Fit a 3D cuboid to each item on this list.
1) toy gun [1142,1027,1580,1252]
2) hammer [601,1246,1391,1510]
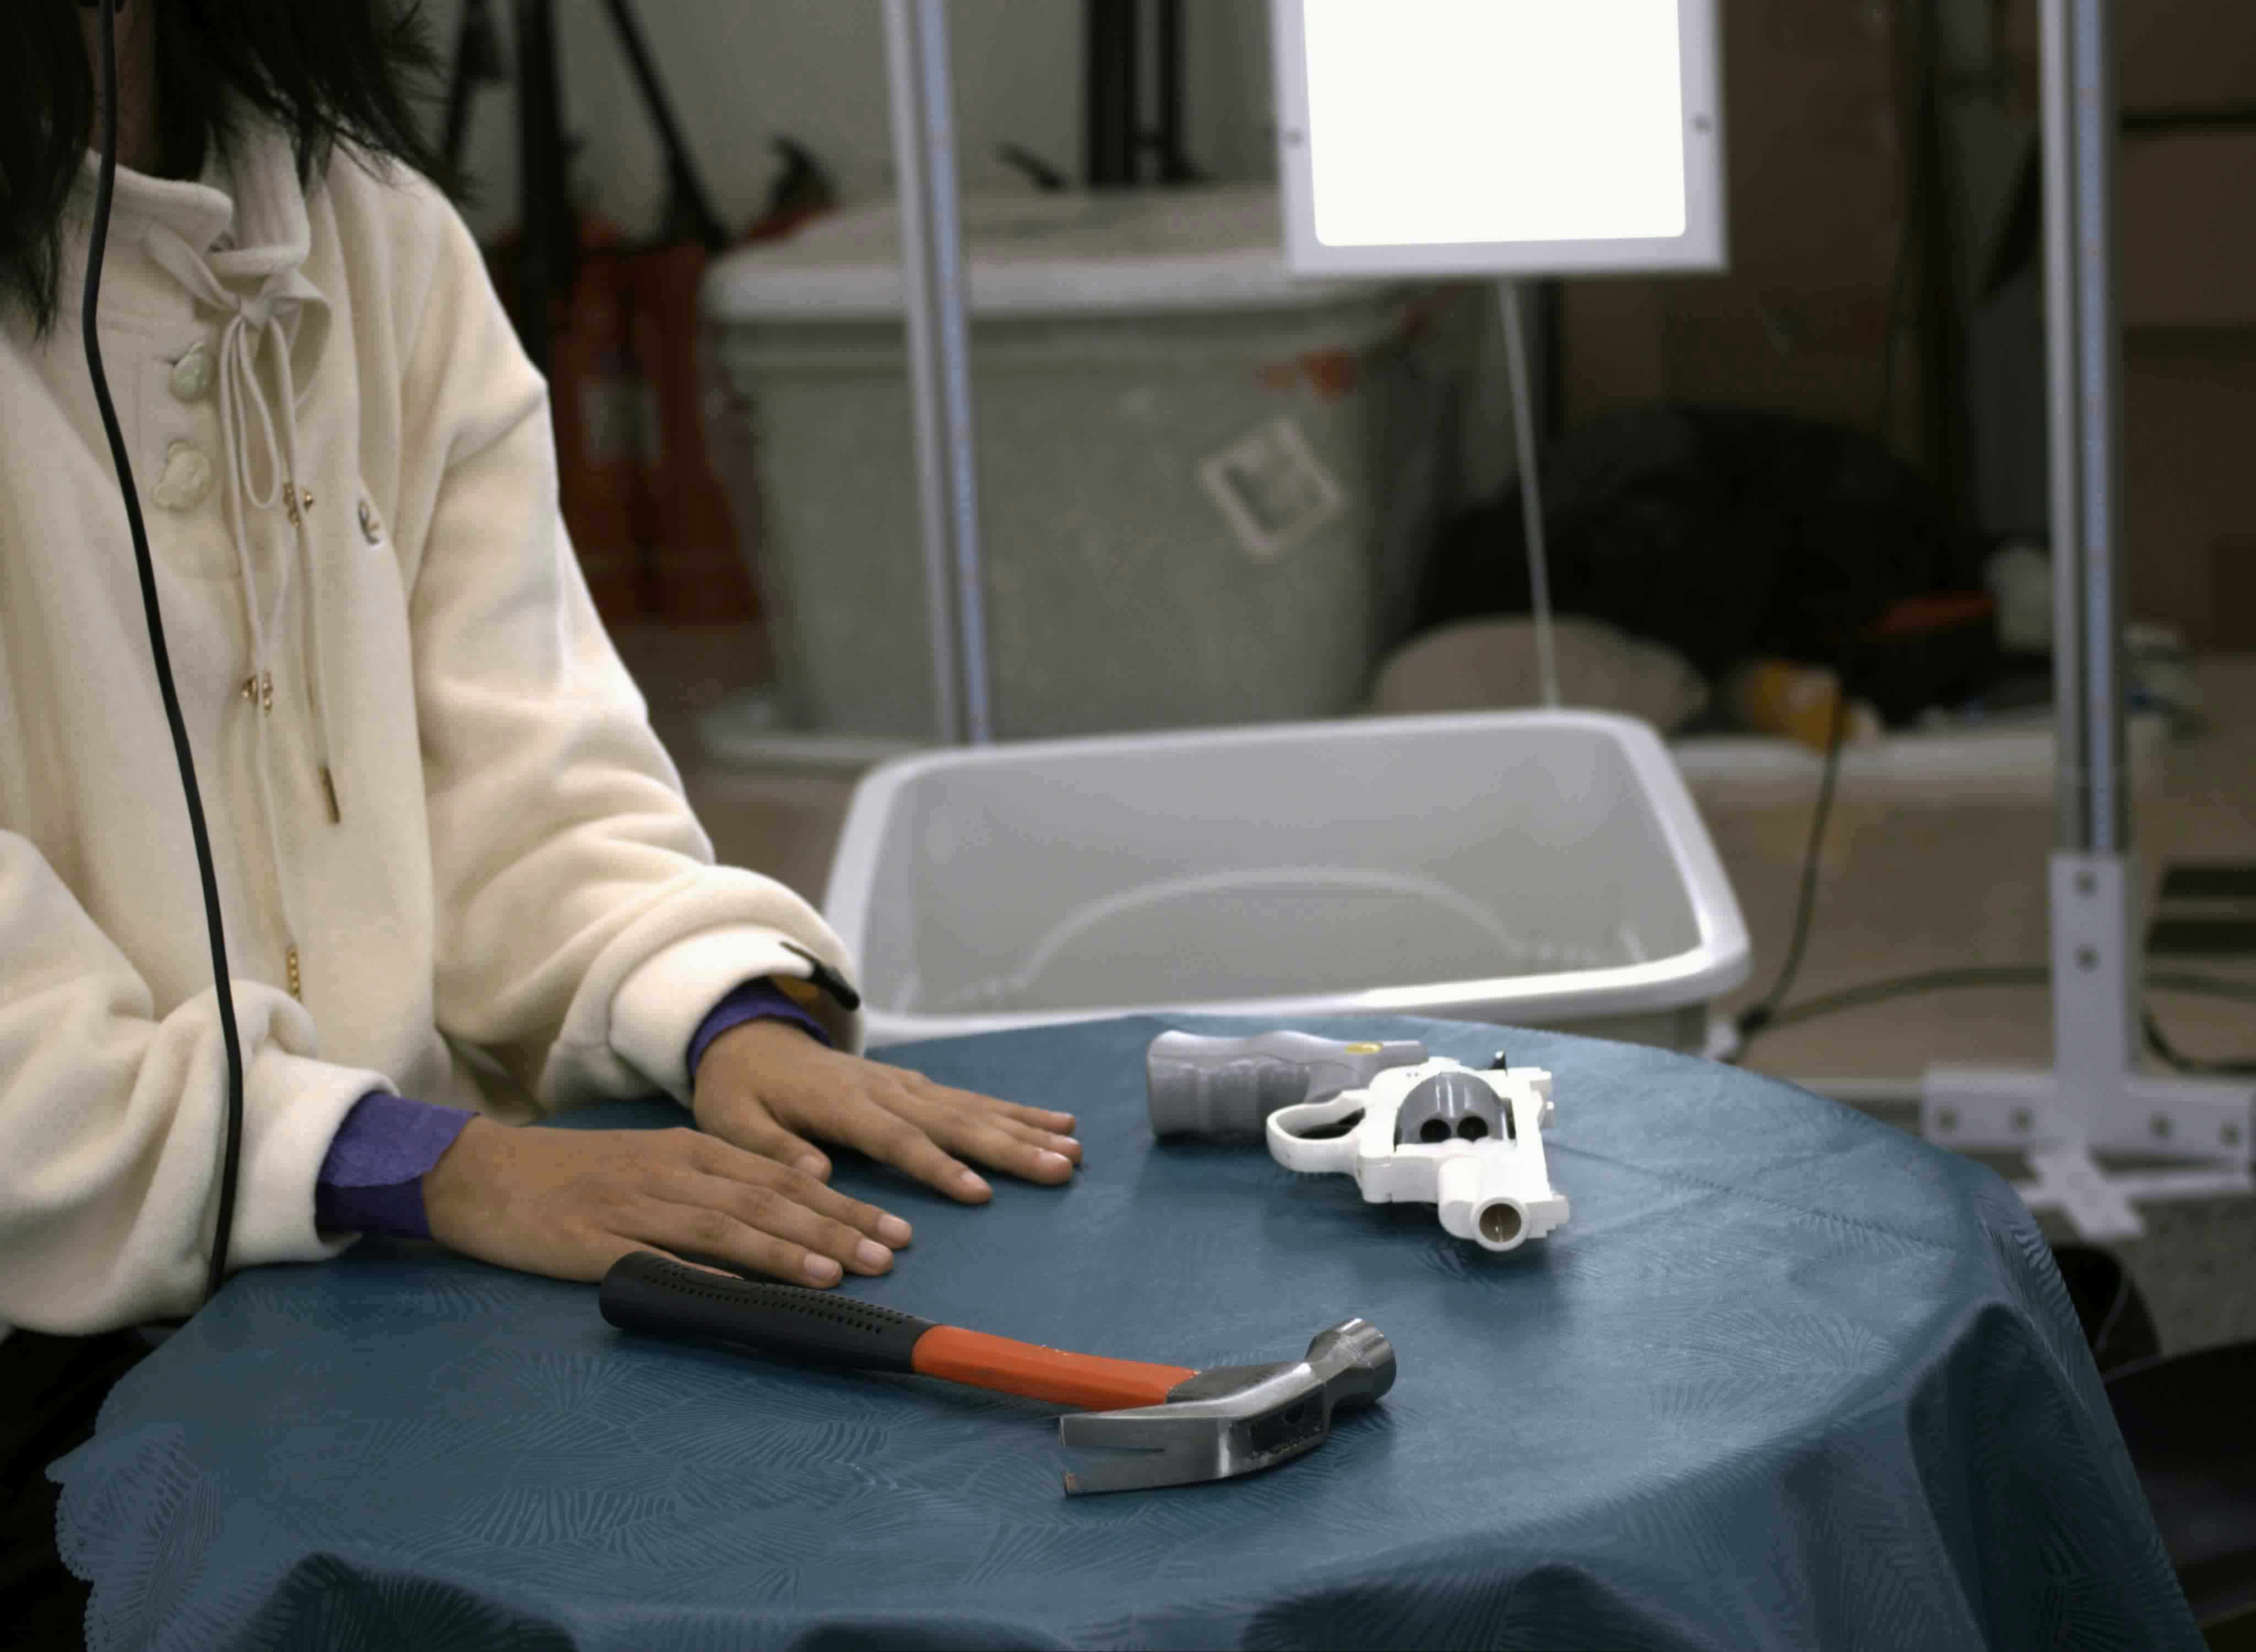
[{"bbox_3d":[0.077,0.105,1.876,0.141,0.039,0.208,-3,14,1],"label":"toy gun"},{"bbox_3d":[-0.058,0.162,1.715,0.283,0.026,0.108,6,27,40],"label":"hammer"}]
